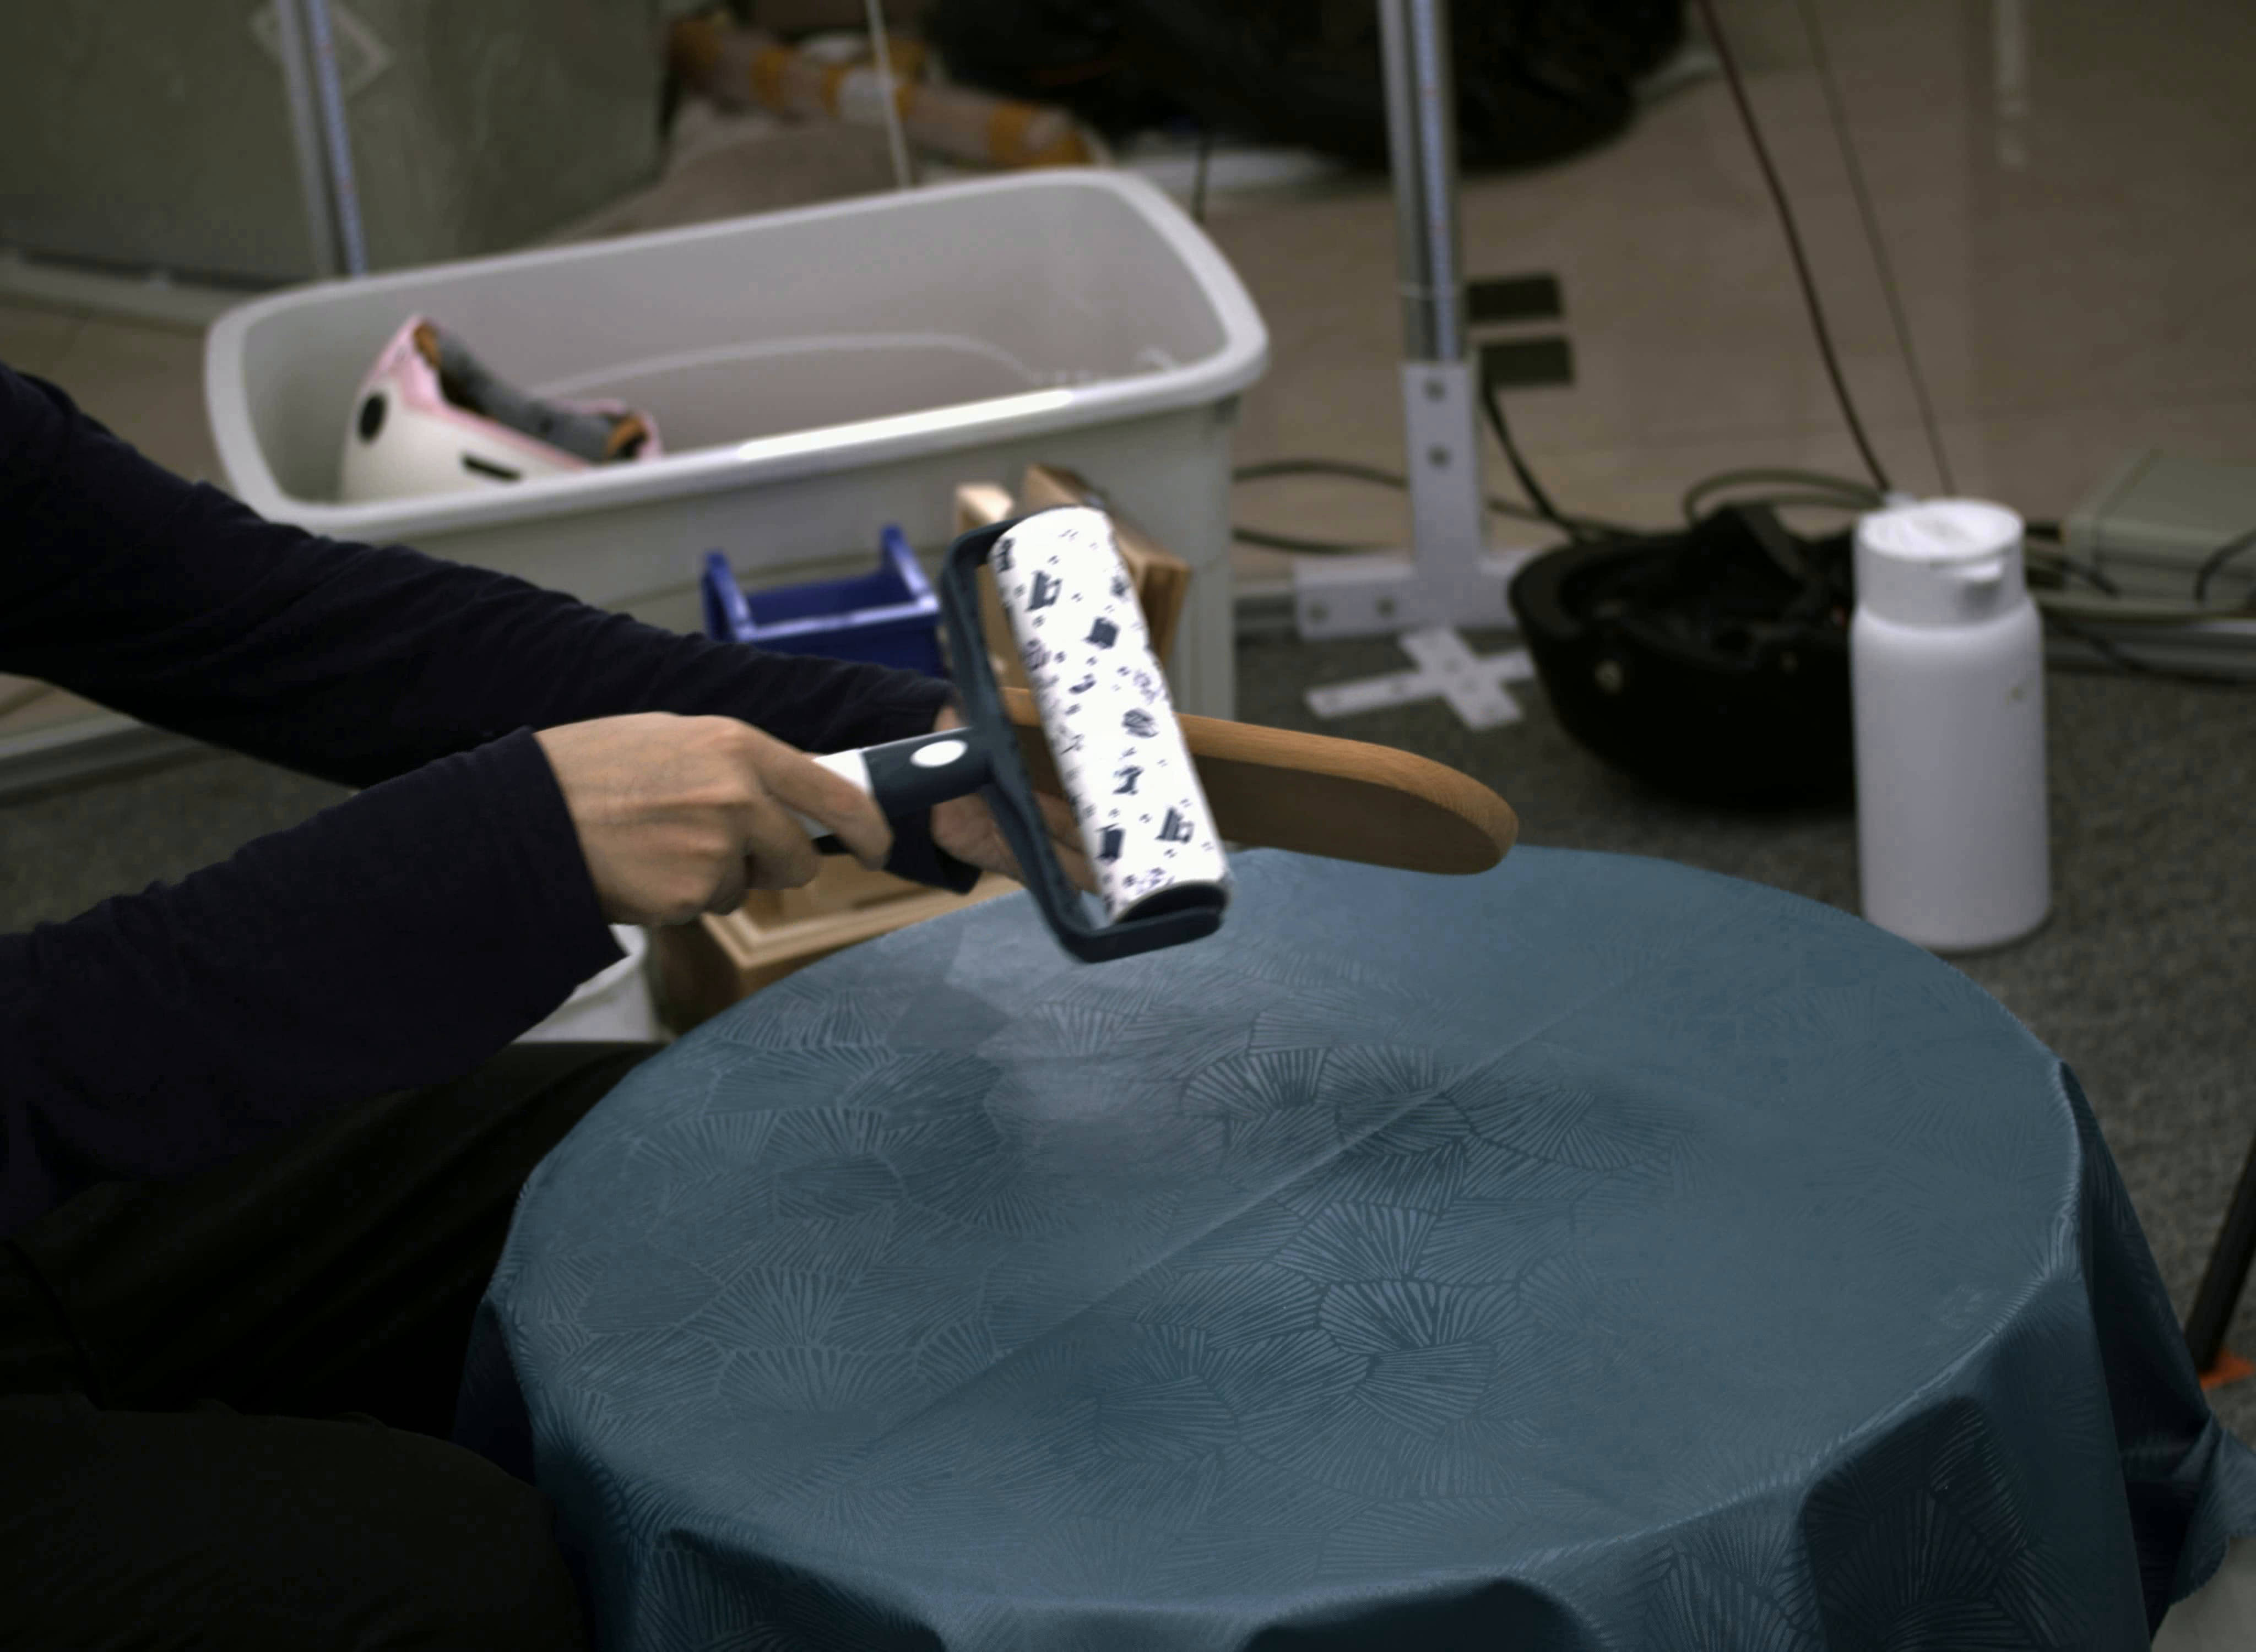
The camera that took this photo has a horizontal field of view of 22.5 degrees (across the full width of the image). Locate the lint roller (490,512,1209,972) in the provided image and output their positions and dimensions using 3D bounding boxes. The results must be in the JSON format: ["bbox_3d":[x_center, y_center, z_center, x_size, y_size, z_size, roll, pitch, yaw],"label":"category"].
[{"bbox_3d":[-0.109,-0.009,2.043,0.246,0.051,0.174,-15,66,-10],"label":"lint roller"}]

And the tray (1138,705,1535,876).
[{"bbox_3d":[0.043,-0.016,2.173,0.230,0.103,0.020,11,73,19],"label":"tray"}]
